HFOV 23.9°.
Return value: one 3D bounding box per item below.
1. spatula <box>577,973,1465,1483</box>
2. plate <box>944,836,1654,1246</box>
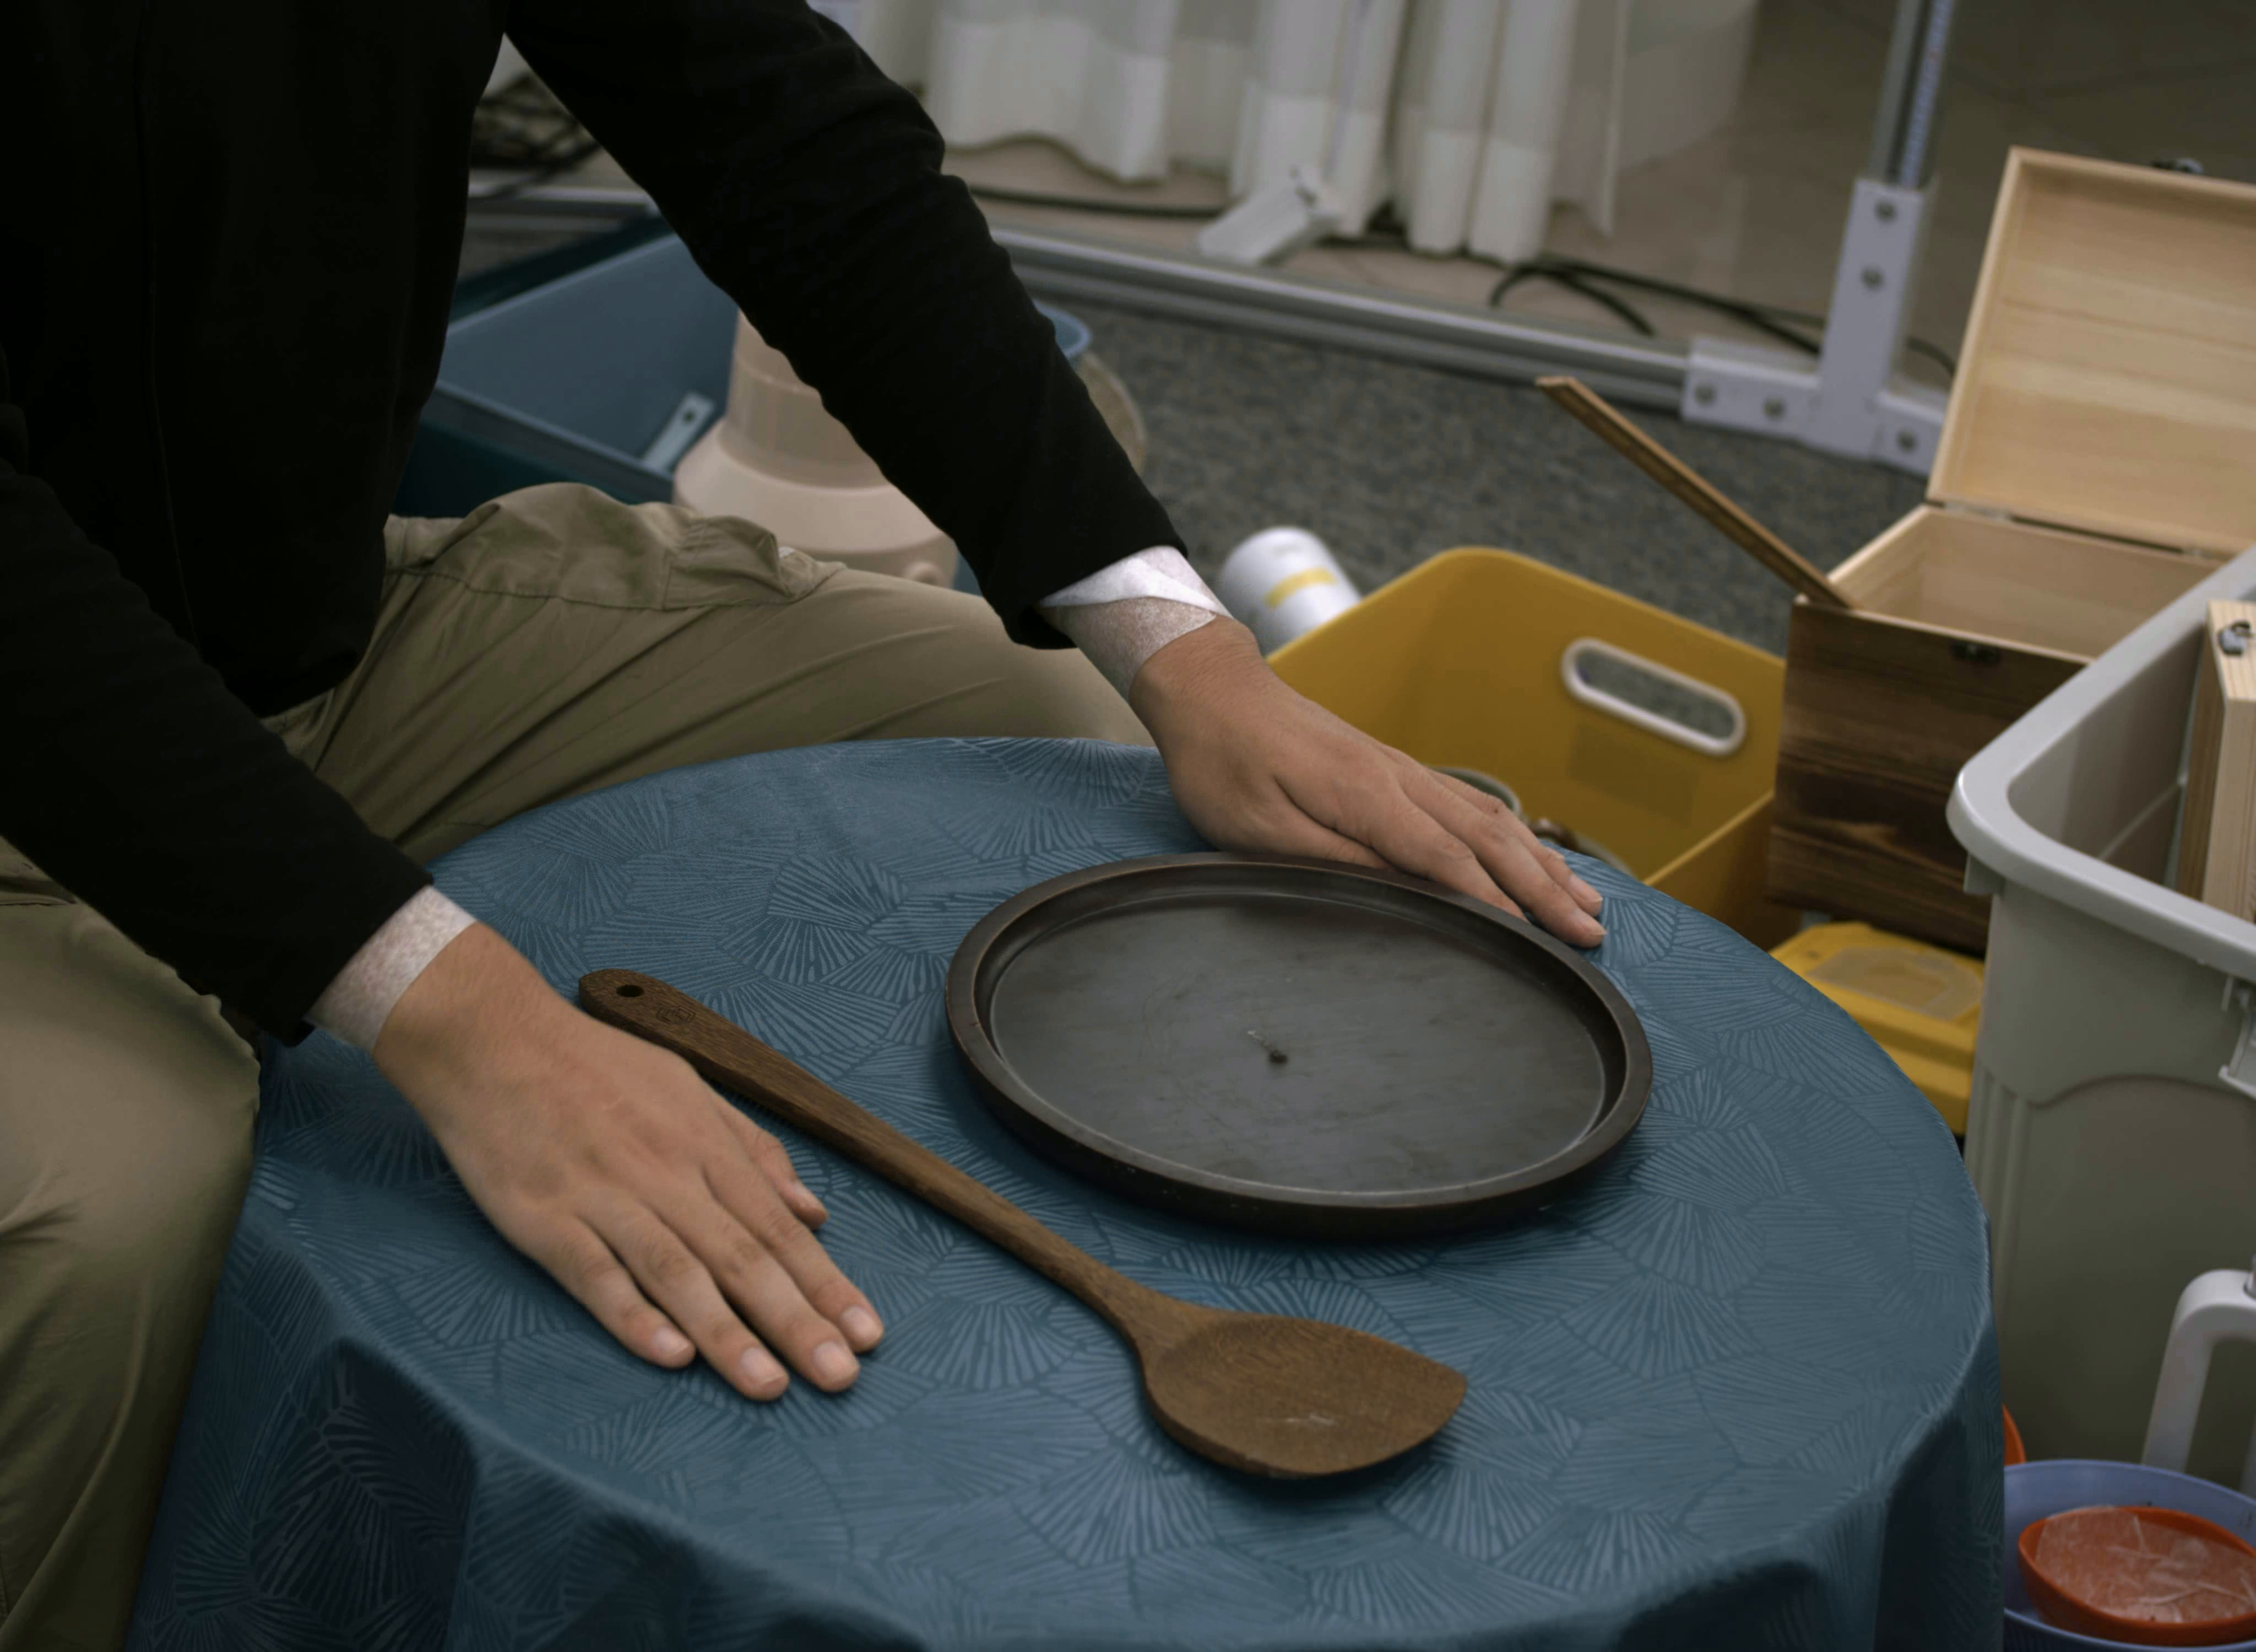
[{"bbox_3d":[-0.053,0.125,1.770,0.389,0.016,0.095,28,33,36],"label":"spatula"},{"bbox_3d":[0.060,0.077,1.880,0.254,0.029,0.256,4,28,-2],"label":"plate"}]
